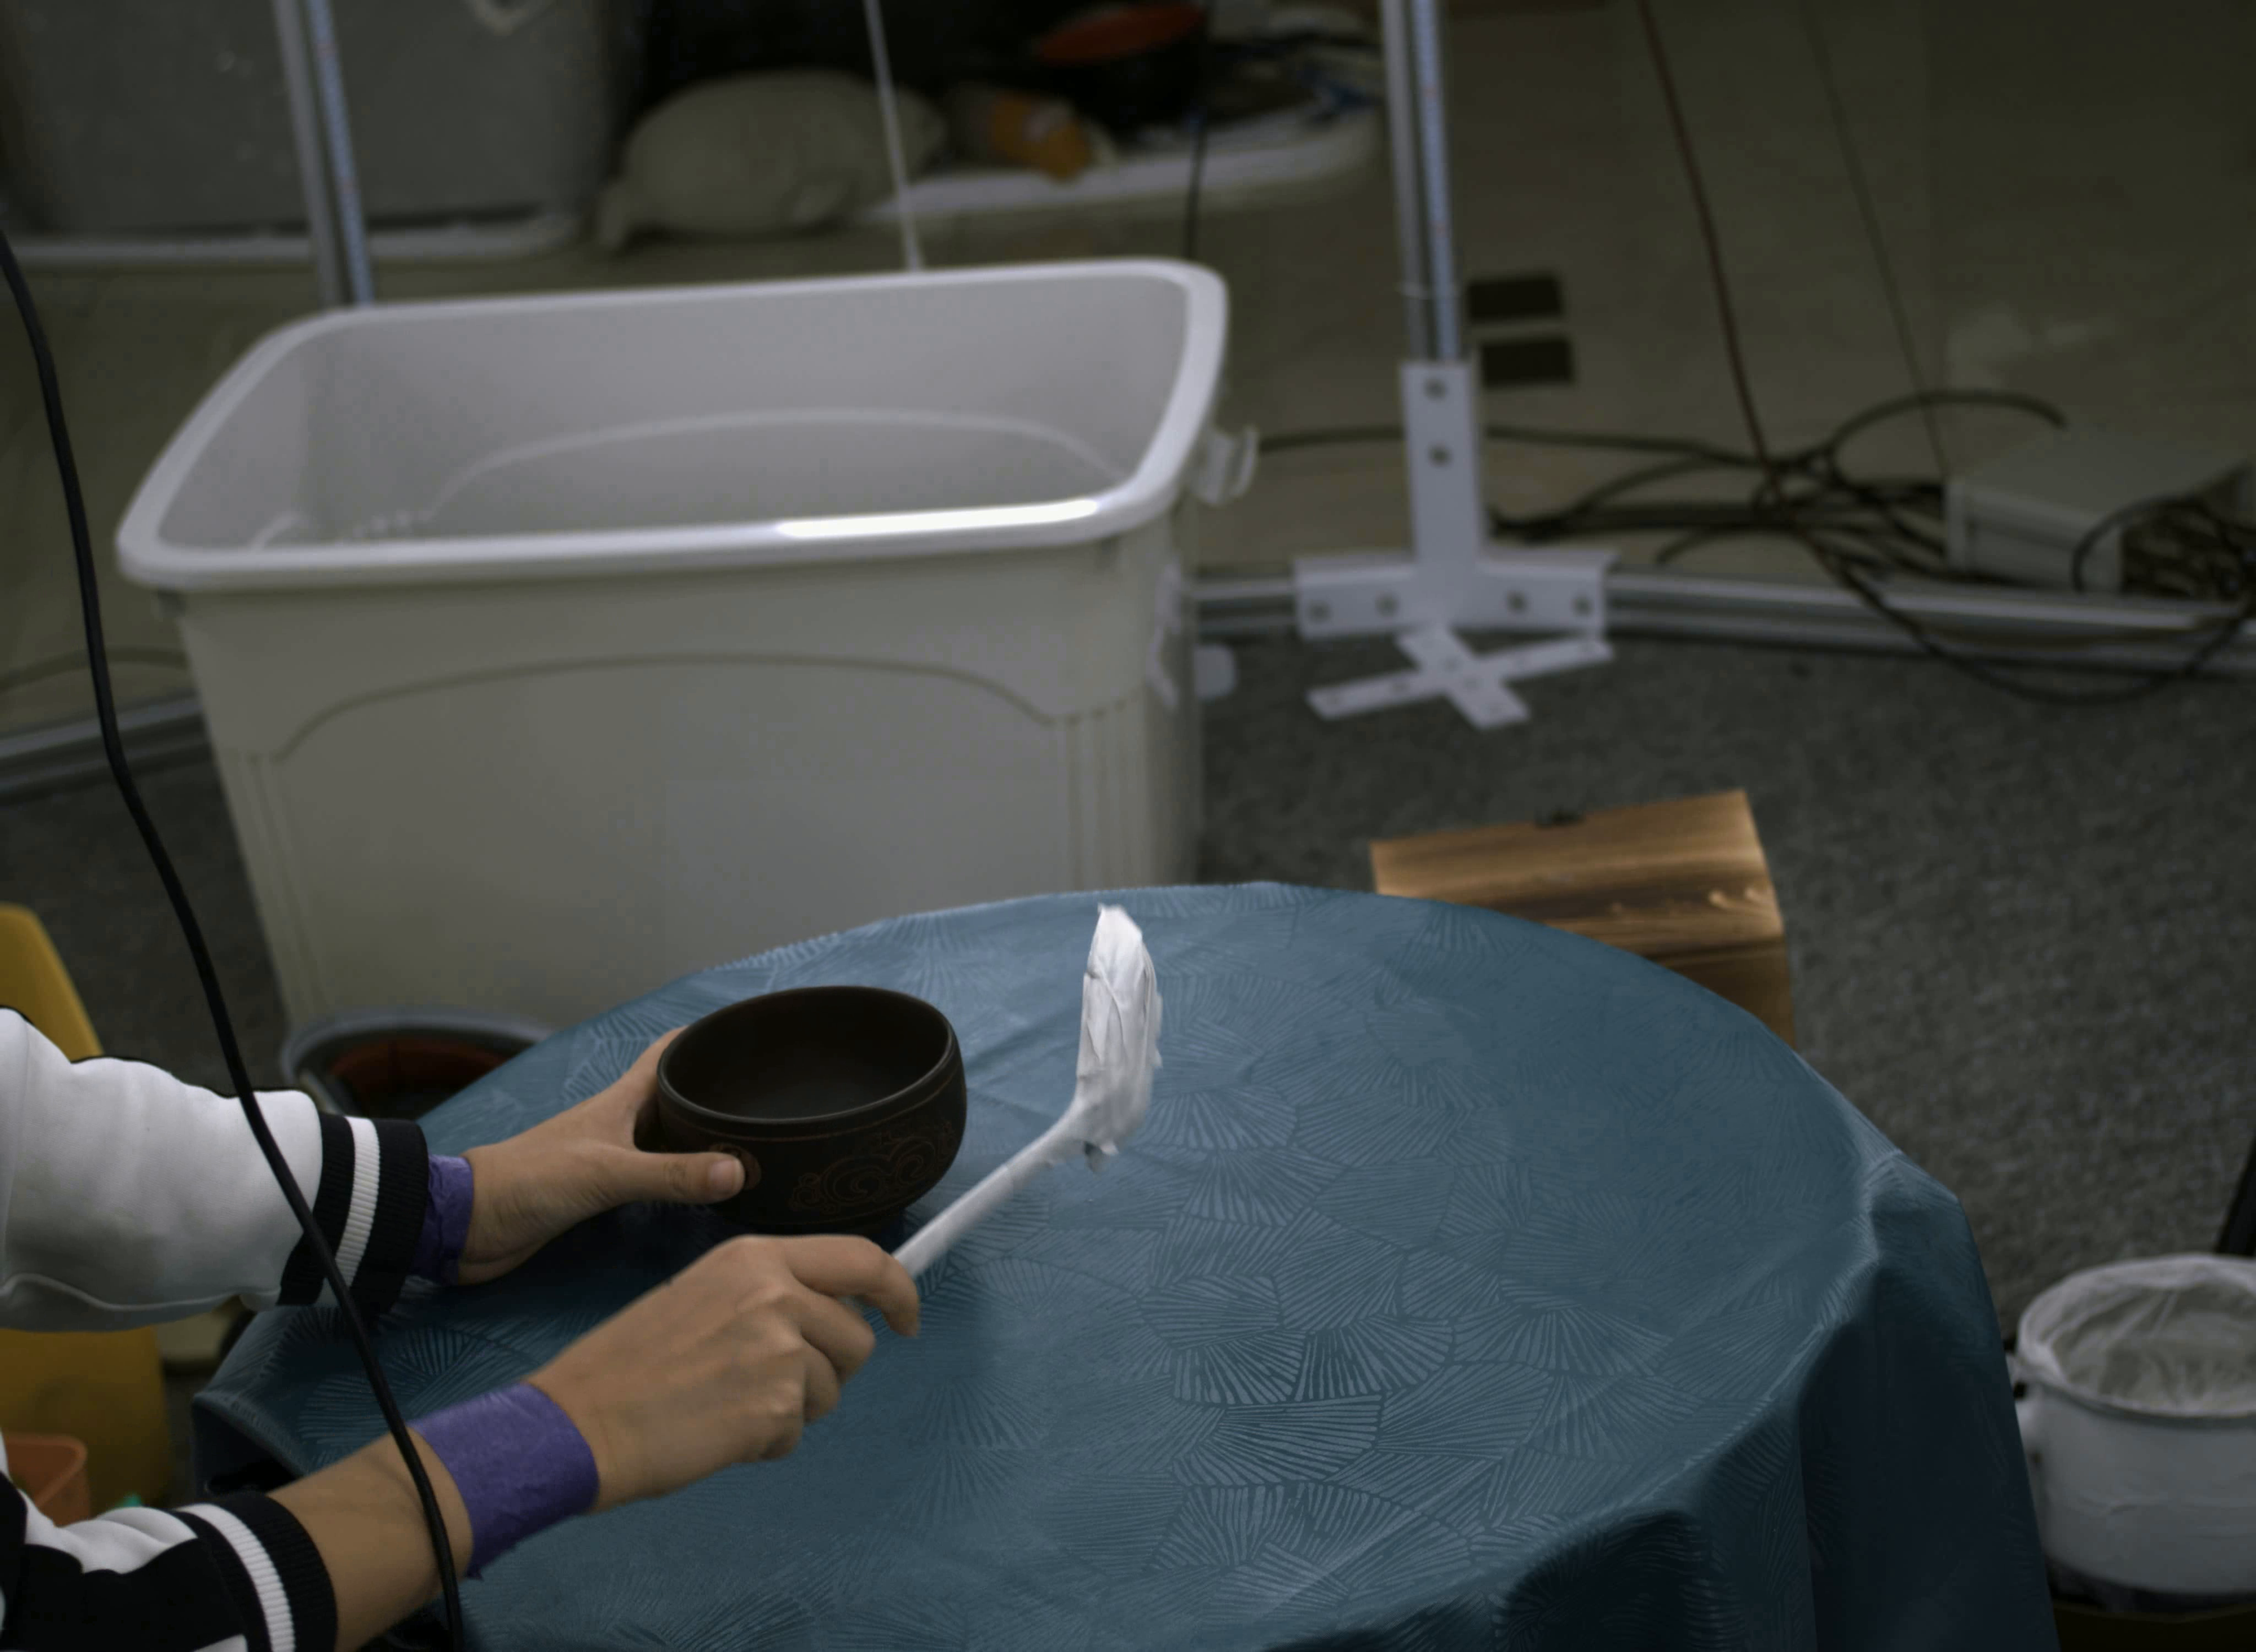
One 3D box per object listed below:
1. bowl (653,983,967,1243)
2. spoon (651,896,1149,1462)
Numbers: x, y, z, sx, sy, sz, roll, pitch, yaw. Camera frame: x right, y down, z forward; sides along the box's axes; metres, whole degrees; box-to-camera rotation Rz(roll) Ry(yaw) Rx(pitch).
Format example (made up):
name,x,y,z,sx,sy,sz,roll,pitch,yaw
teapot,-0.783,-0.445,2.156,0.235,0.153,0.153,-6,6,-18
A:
name,x,y,z,sx,sy,sz,roll,pitch,yaw
bowl,-0.118,0.114,2.143,0.118,0.071,0.116,-5,25,3
spoon,-0.079,0.126,1.947,0.059,0.102,0.274,29,53,35
